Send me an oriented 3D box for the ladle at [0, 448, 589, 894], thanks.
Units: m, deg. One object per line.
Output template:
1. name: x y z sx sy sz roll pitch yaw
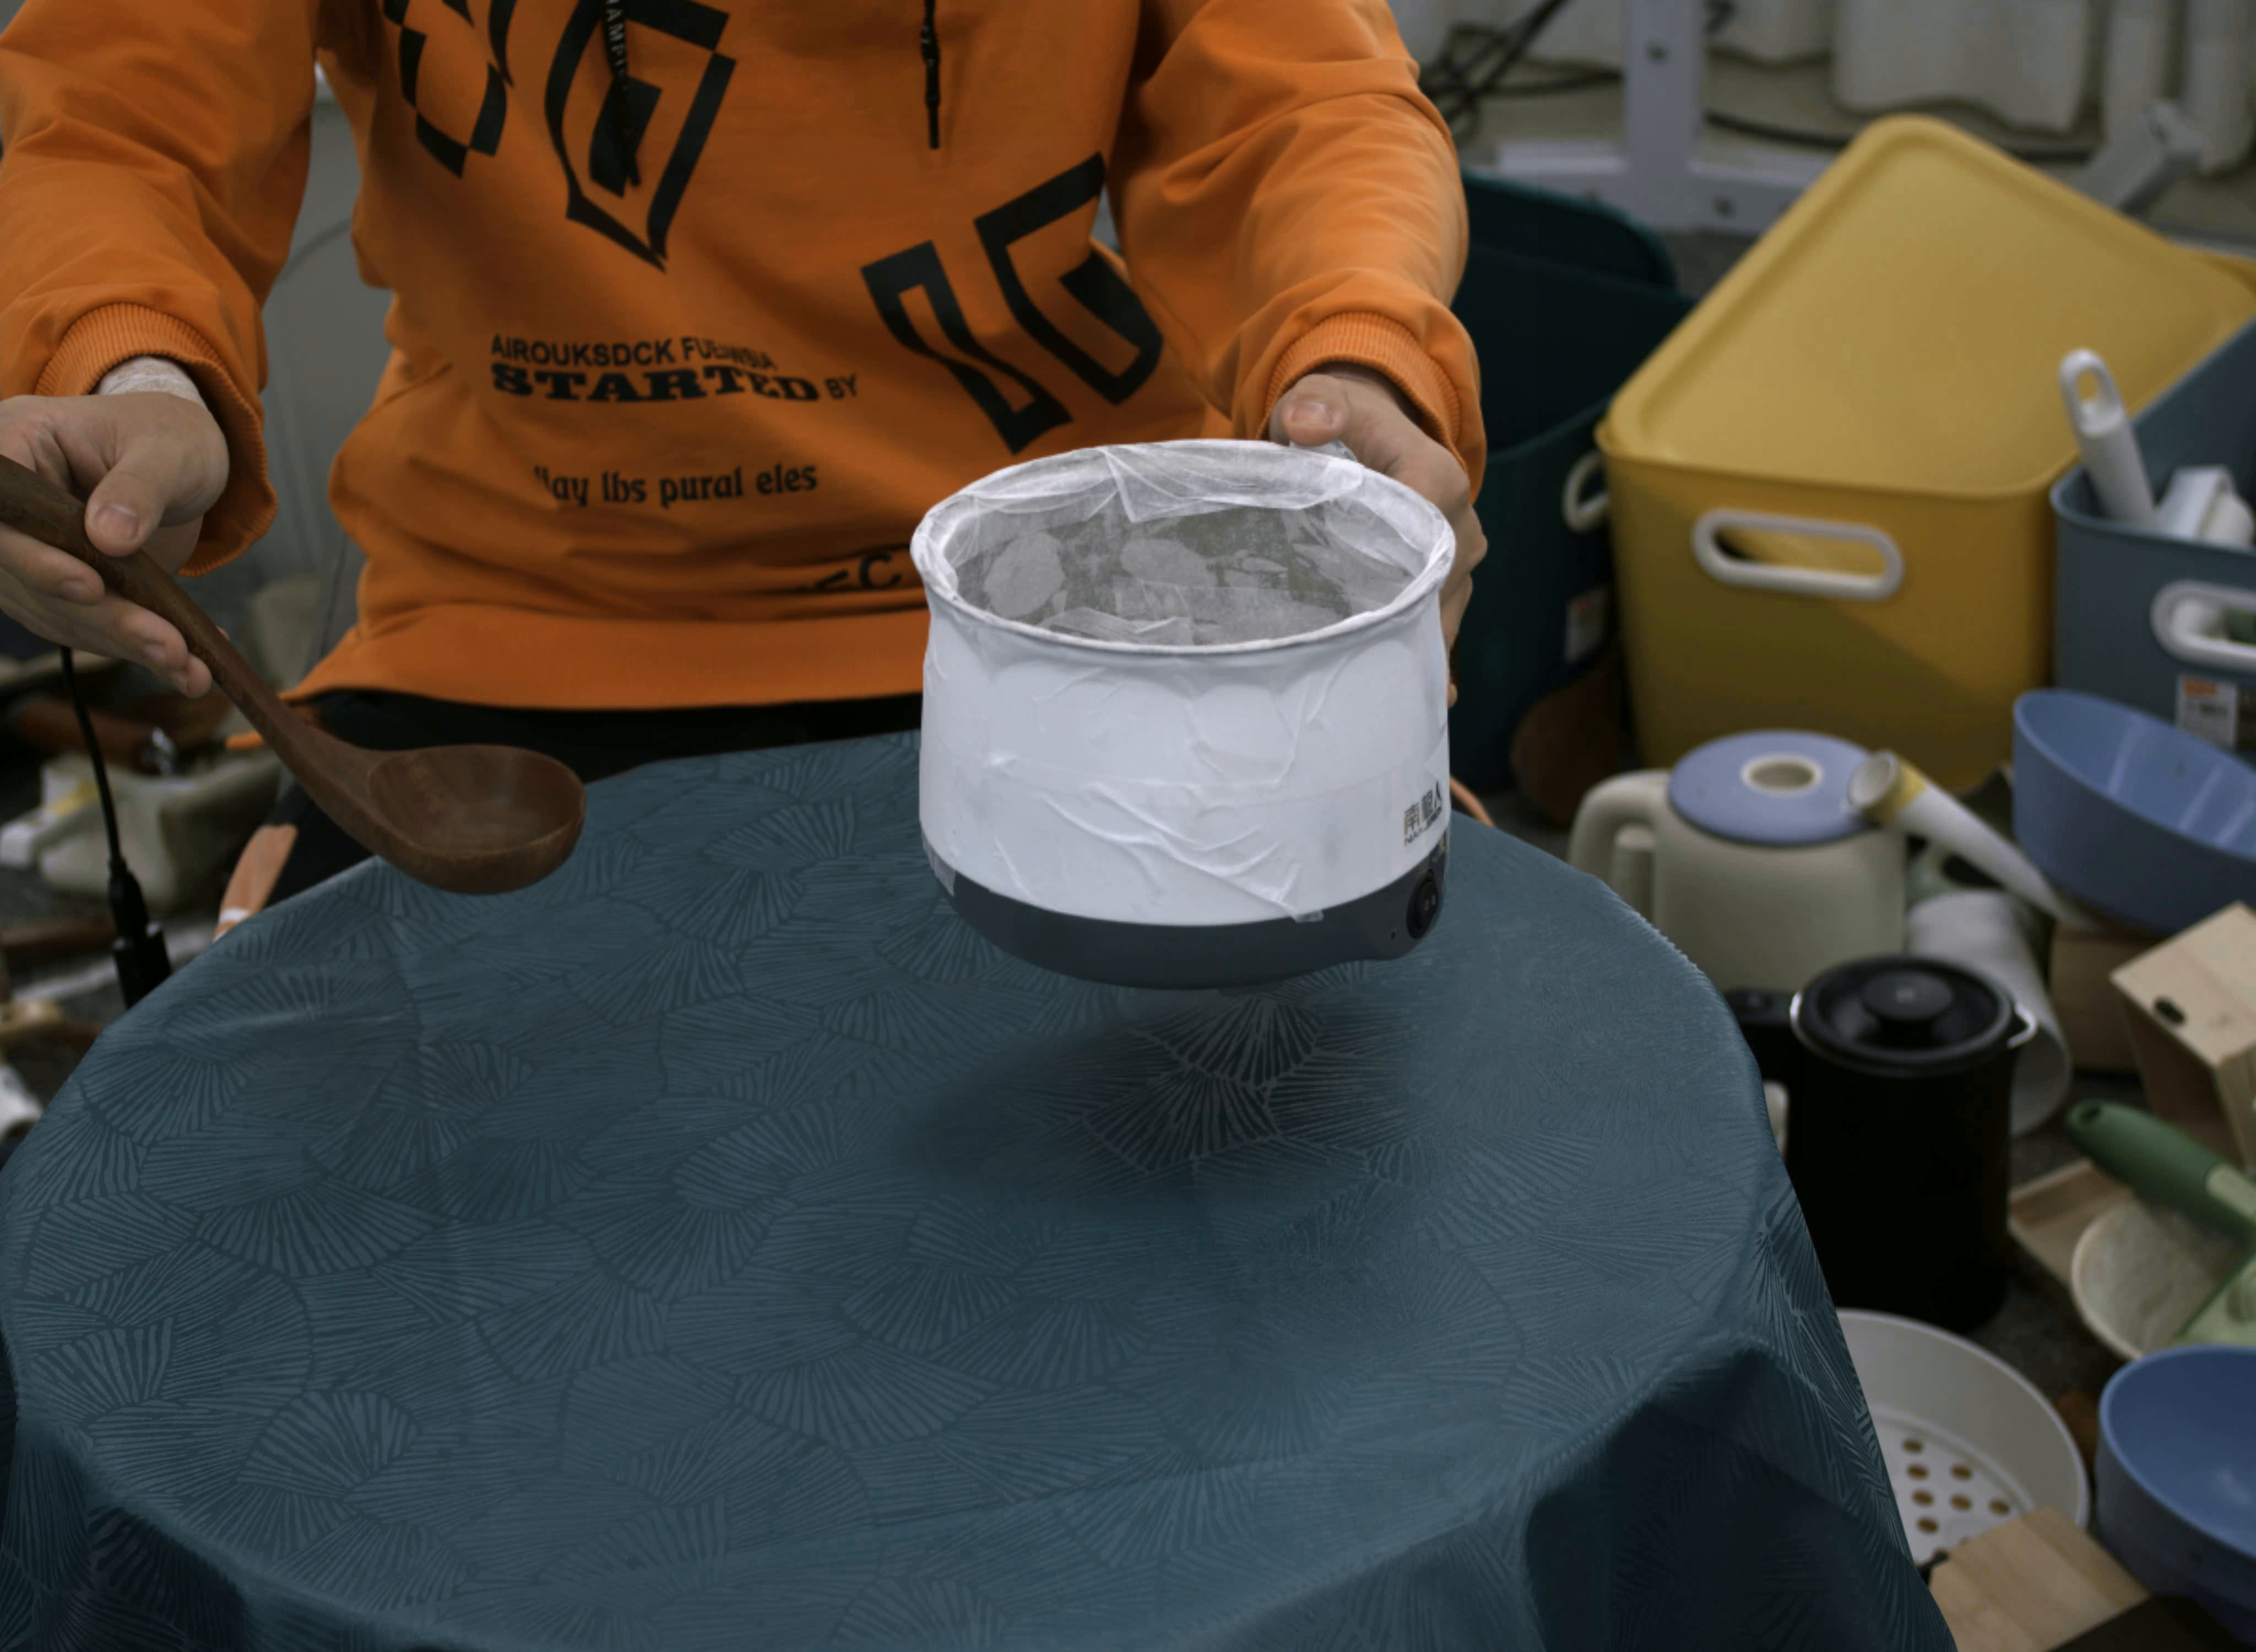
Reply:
1. ladle: -0.288 -0.063 1.844 0.064 0.259 0.077 -44 19 16

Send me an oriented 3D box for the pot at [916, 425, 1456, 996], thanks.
1. pot: 0.030 -0.047 1.877 0.177 0.135 0.237 11 27 22
